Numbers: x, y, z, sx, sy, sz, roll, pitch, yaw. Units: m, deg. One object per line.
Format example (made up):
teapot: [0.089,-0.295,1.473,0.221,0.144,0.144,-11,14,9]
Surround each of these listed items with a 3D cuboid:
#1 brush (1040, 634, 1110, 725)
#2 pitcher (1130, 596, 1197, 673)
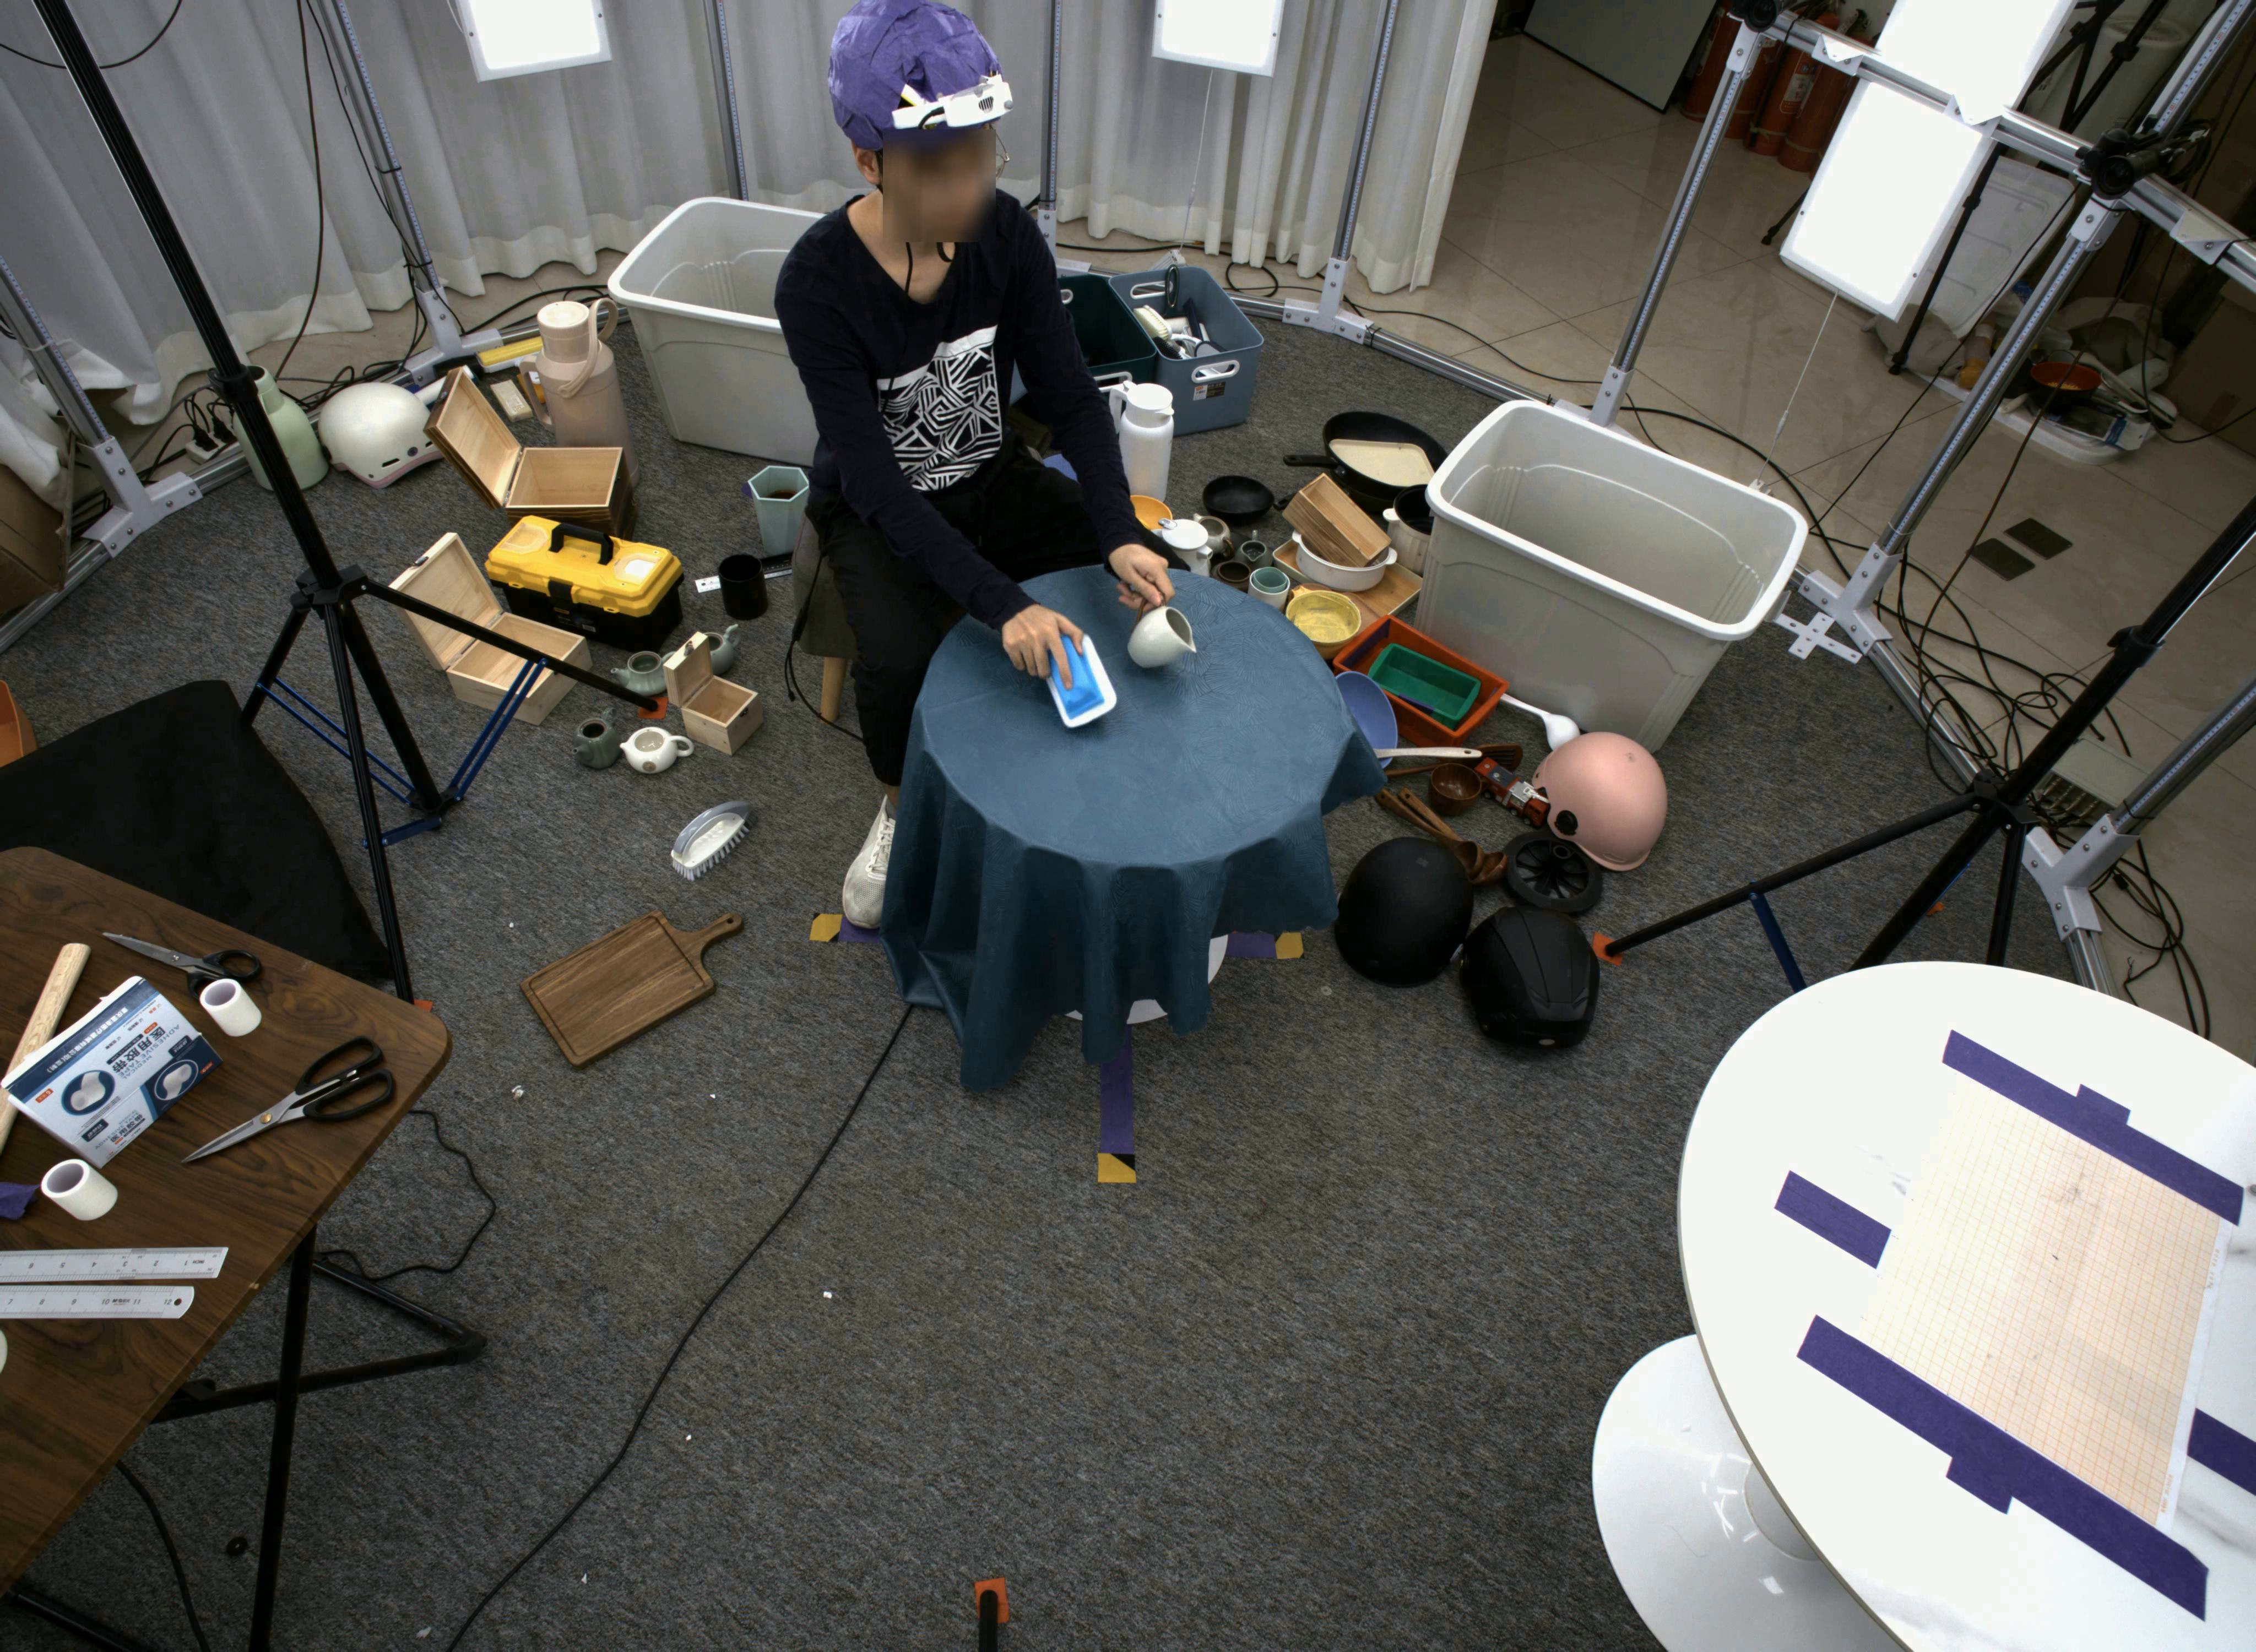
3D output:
brush: [-0.078,-0.213,1.790,0.083,0.054,0.147,-23,55,8]
pitcher: [0.047,-0.266,1.837,0.075,0.087,0.121,4,64,-51]
